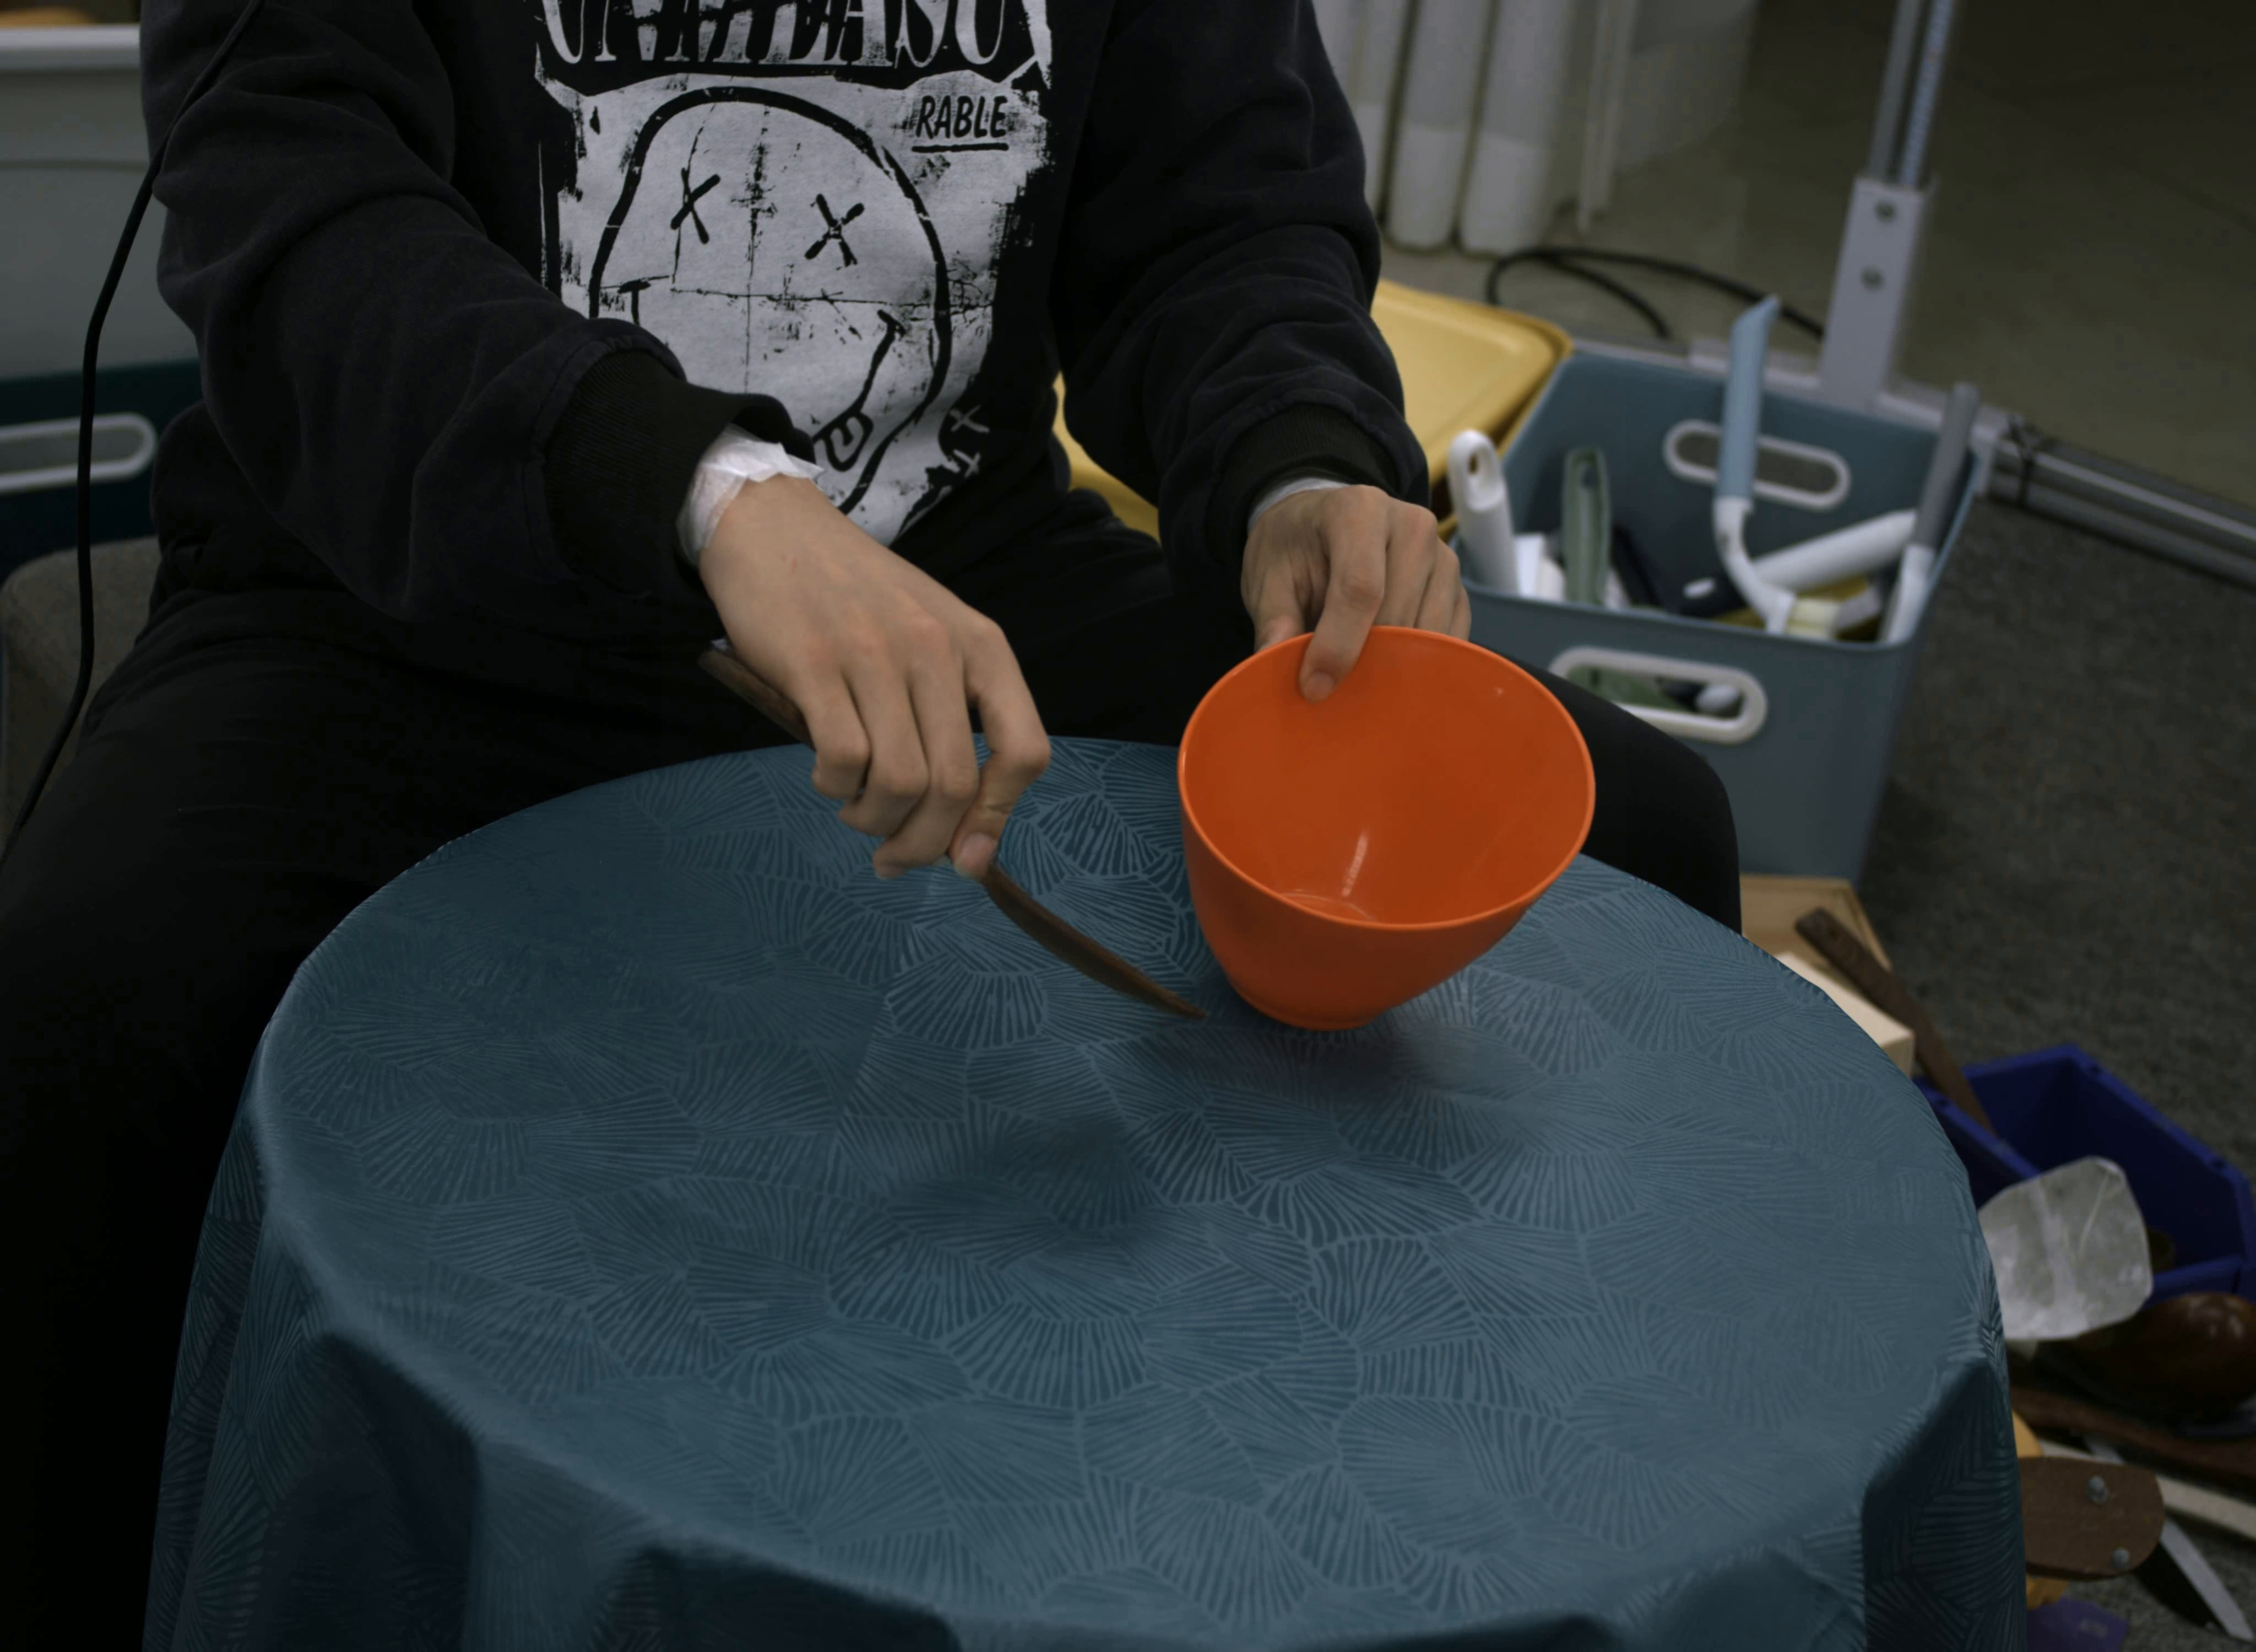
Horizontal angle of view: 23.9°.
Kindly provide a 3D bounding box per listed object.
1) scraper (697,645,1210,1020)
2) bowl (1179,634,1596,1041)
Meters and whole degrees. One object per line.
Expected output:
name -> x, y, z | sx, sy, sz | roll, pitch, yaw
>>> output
scraper -> -0.061, 0.005, 1.779 | 0.210, 0.011, 0.076 | 39, -12, -18
bowl -> 0.085, 0.014, 1.908 | 0.147, 0.104, 0.149 | 8, 40, -7
